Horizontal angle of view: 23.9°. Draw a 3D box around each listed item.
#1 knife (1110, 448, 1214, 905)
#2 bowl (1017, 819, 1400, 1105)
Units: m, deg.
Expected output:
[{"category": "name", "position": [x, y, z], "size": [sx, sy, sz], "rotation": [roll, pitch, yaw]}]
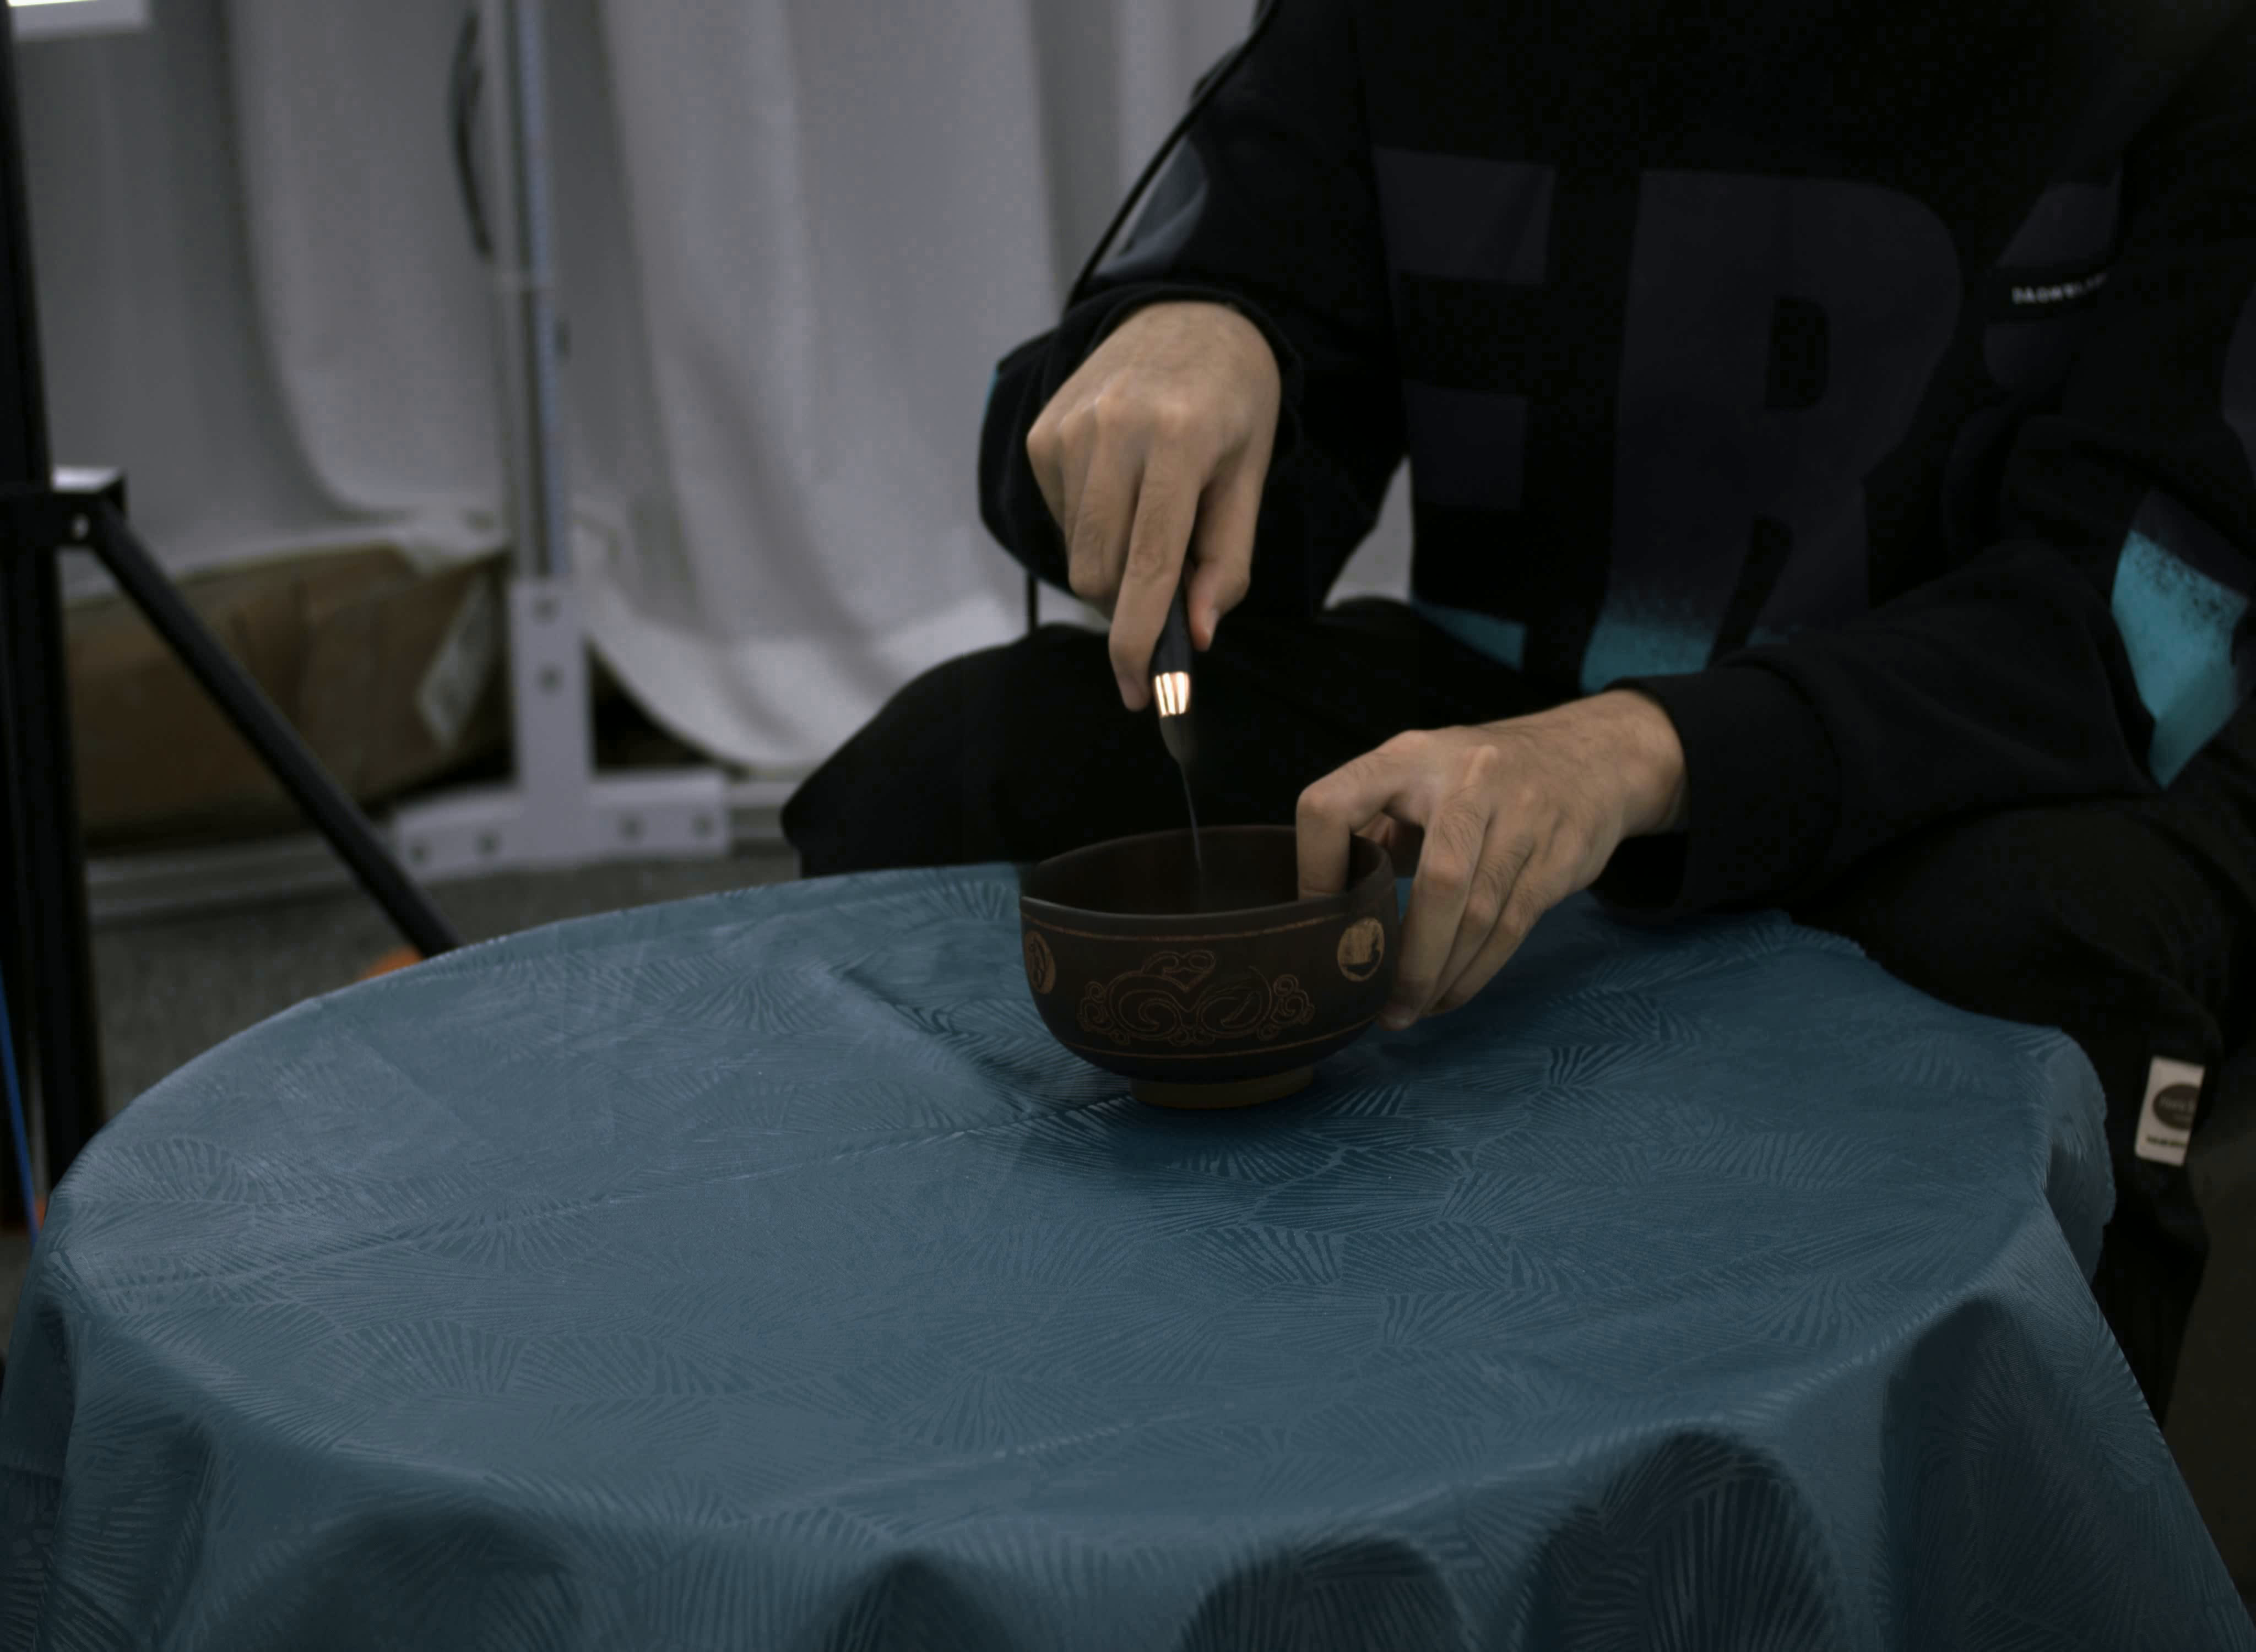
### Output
[{"category": "knife", "position": [0.017, -0.025, 1.687], "size": [0.017, 0.026, 0.229], "rotation": [-5, 57, -7]}, {"category": "bowl", "position": [0.025, 0.045, 1.634], "size": [0.117, 0.070, 0.118], "rotation": [-2, 14, -1]}]
